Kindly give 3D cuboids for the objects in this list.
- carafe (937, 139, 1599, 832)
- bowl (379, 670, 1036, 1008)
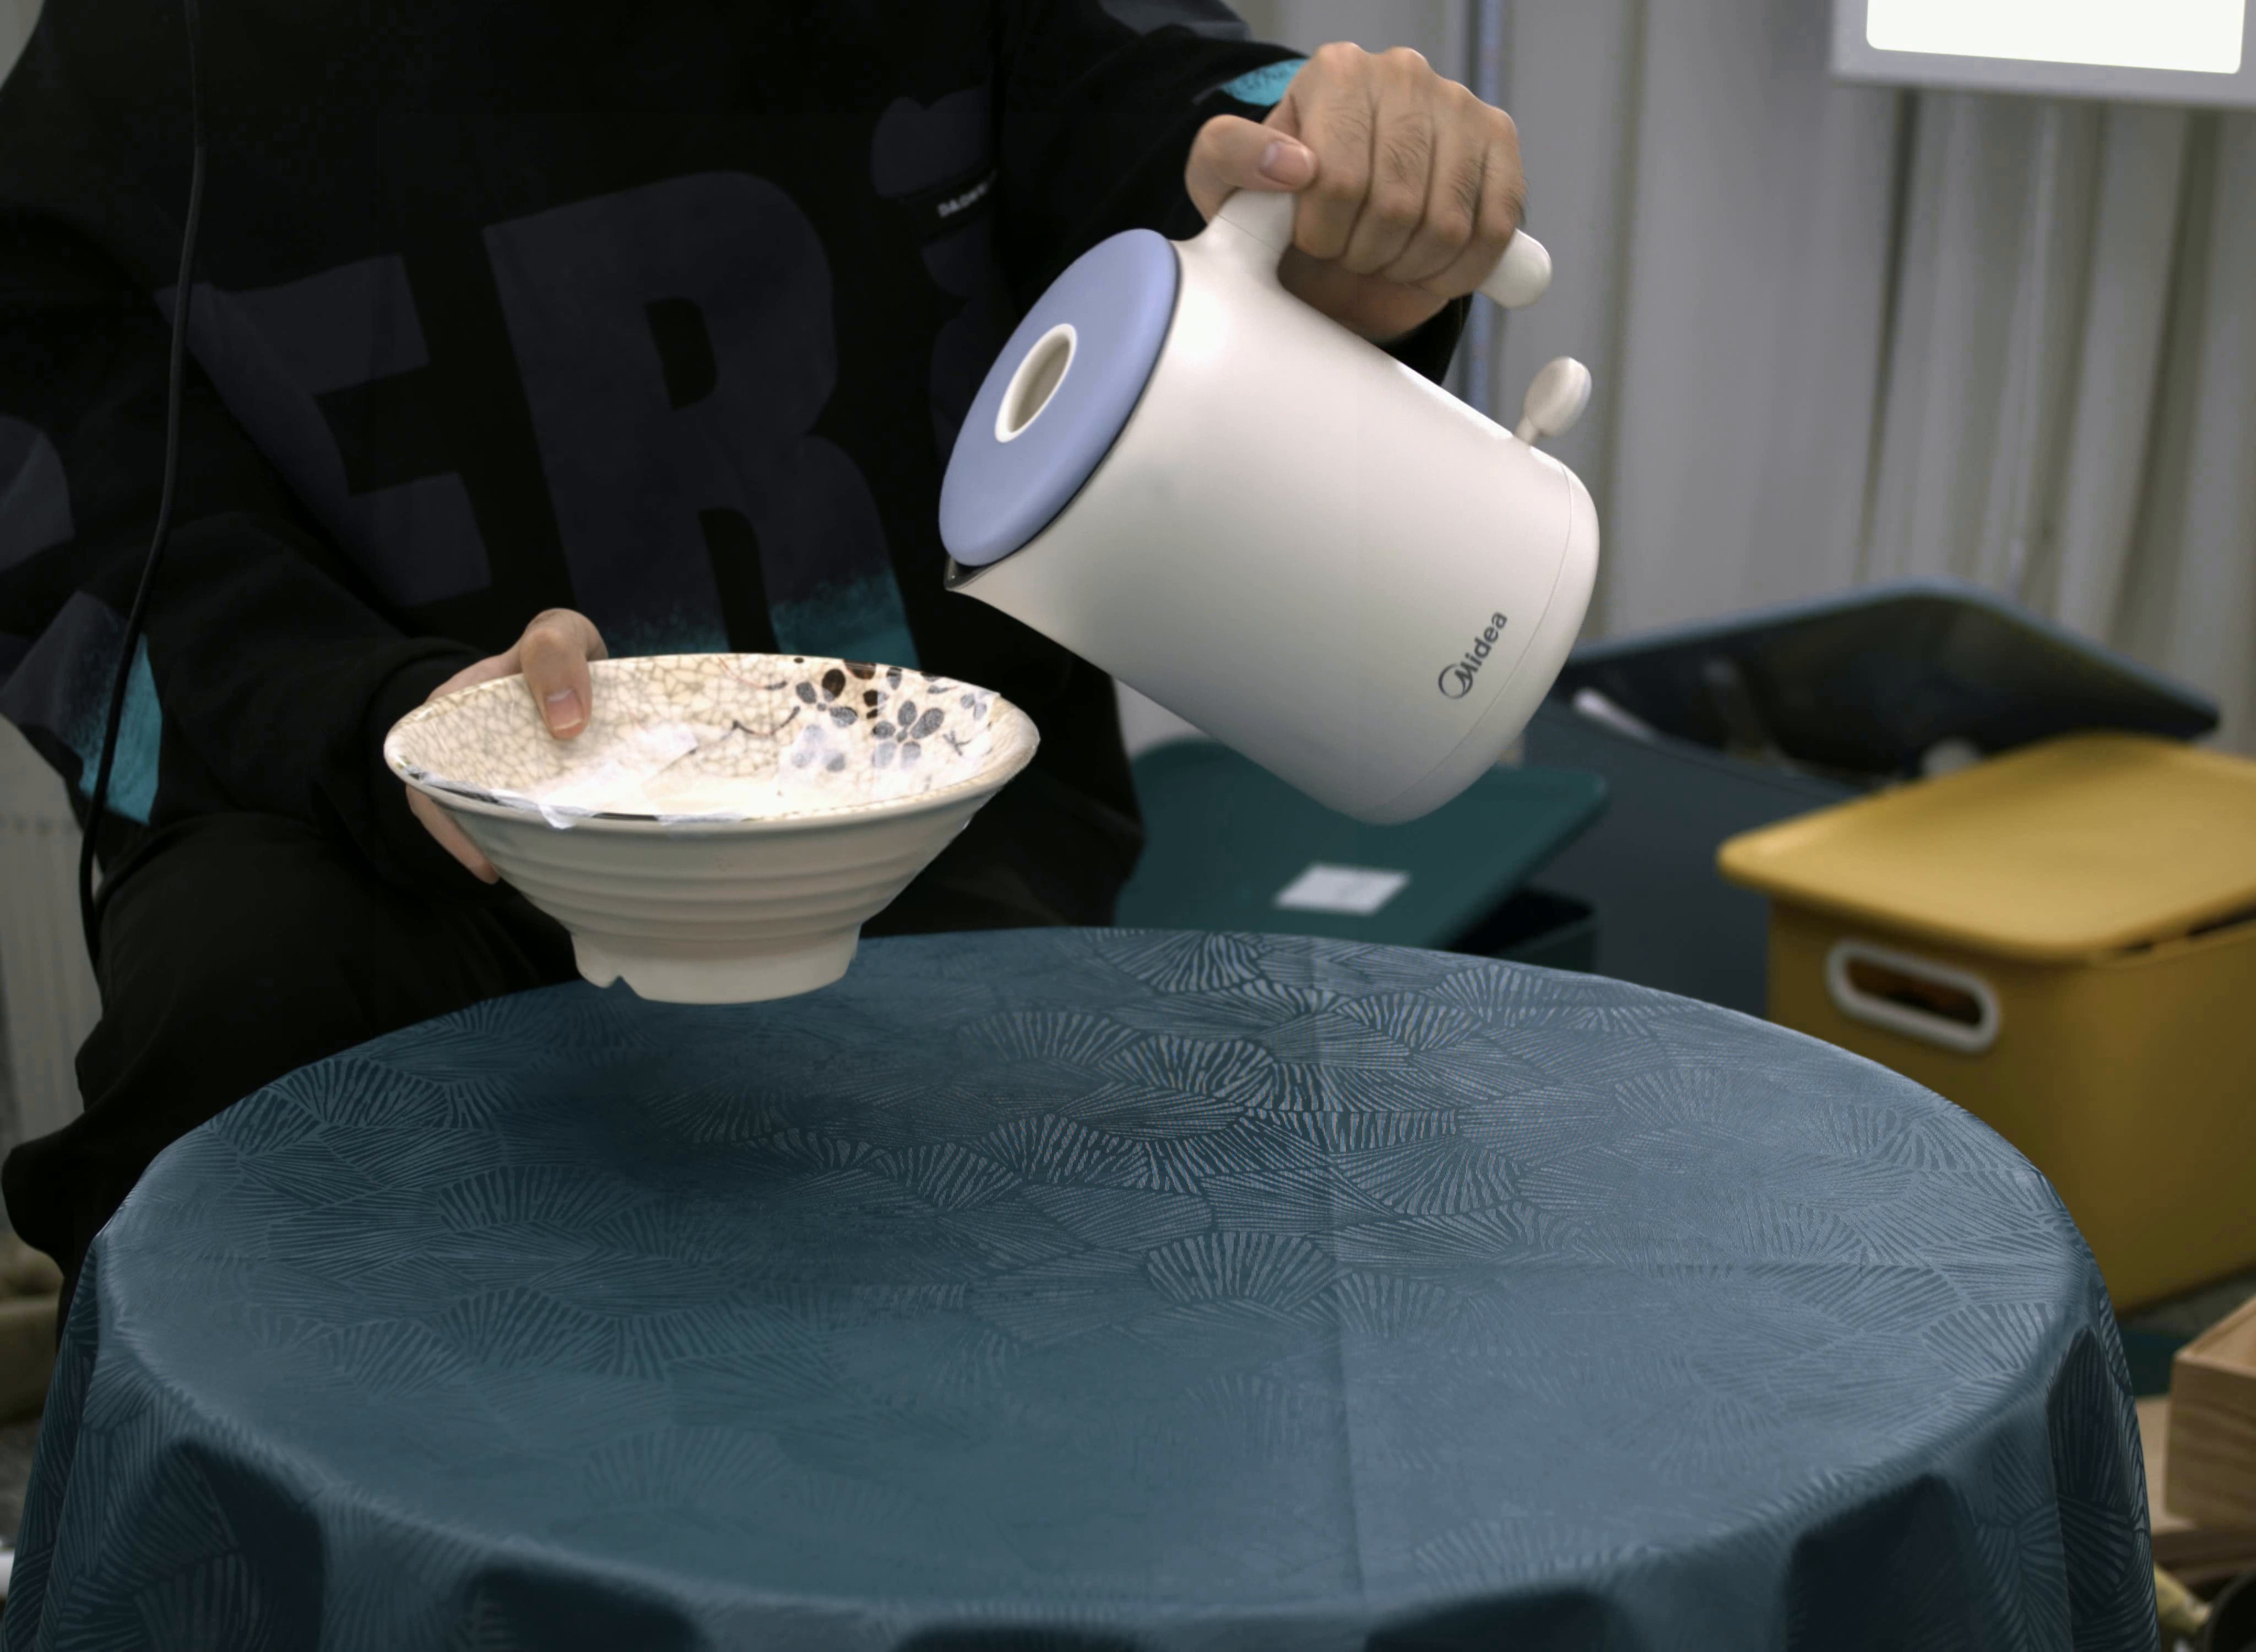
[{"bbox_3d":[0.057,-0.113,1.639,0.184,0.191,0.131,34,1,-24],"label":"carafe"},{"bbox_3d":[-0.130,0.009,1.639,0.203,0.078,0.203,1,13,0],"label":"bowl"}]
